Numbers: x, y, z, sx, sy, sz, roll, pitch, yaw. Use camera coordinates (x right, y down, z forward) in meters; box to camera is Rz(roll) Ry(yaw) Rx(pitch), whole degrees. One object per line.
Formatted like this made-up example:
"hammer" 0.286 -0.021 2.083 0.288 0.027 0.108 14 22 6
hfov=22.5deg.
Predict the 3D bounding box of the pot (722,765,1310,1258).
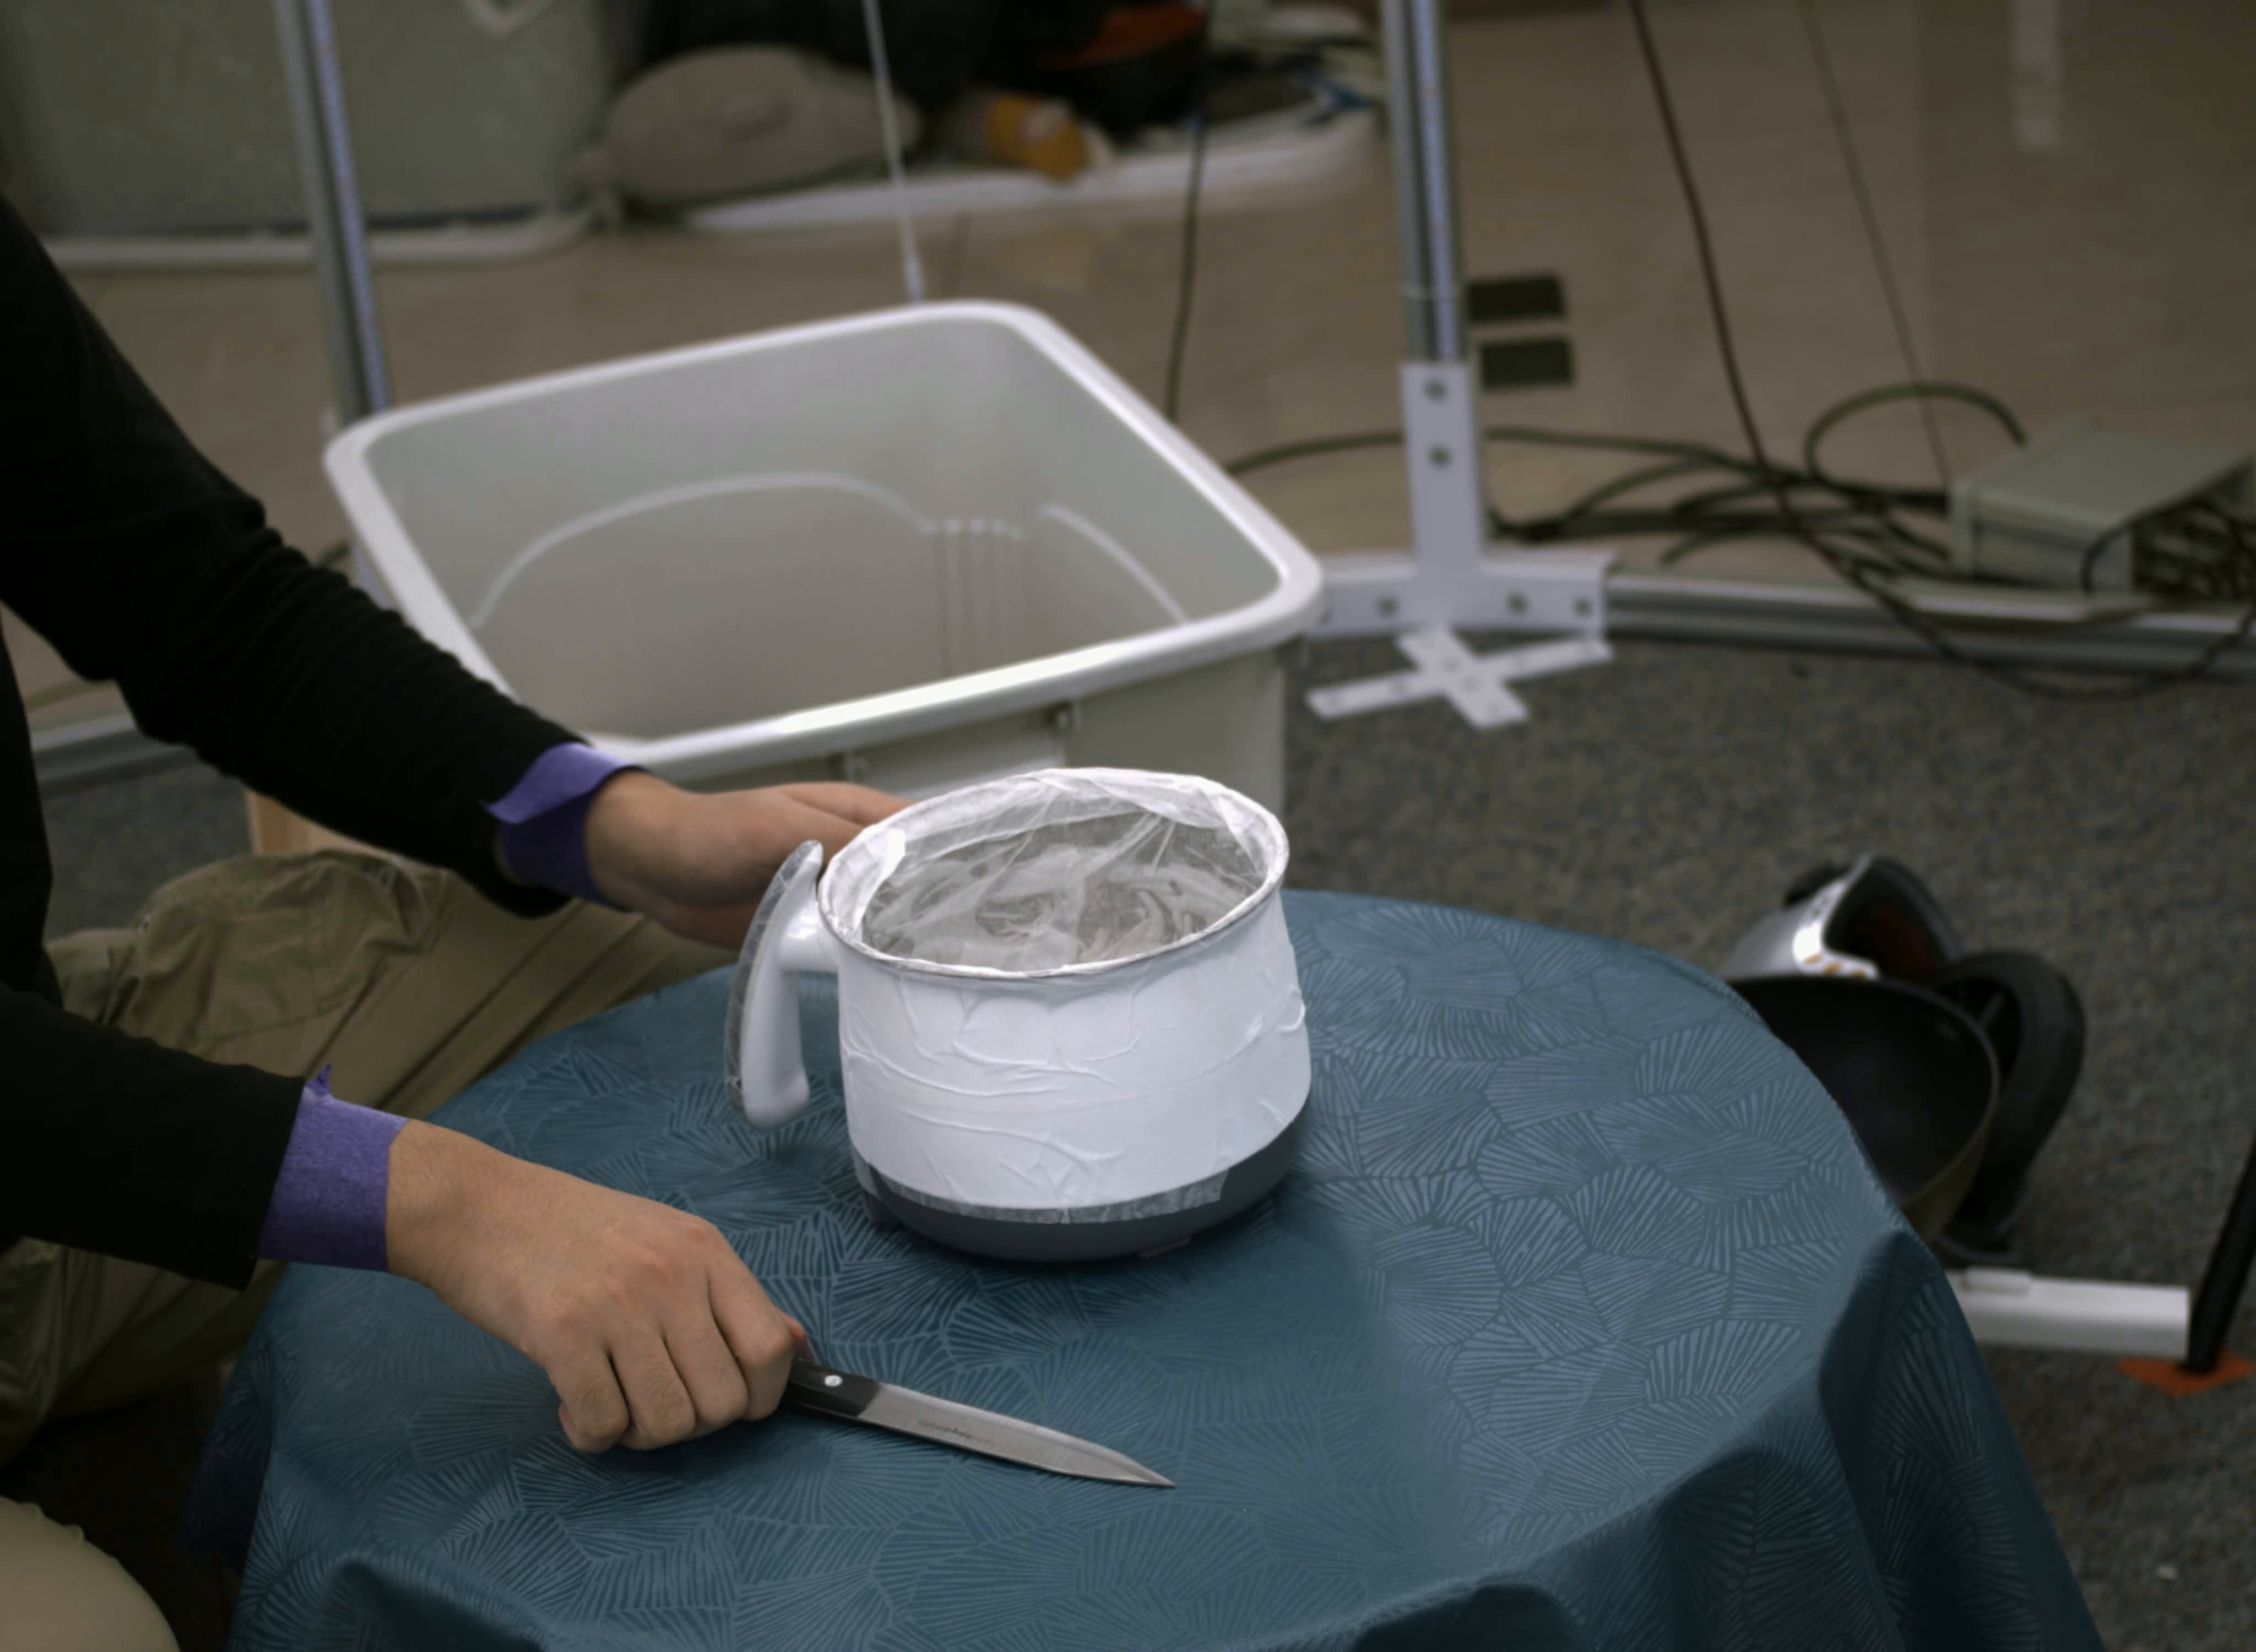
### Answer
"pot" -0.047 0.069 2.140 0.233 0.139 0.176 4 27 19

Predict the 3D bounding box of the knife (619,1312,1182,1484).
"knife" -0.085 0.206 2.013 0.237 0.016 0.024 12 32 29
